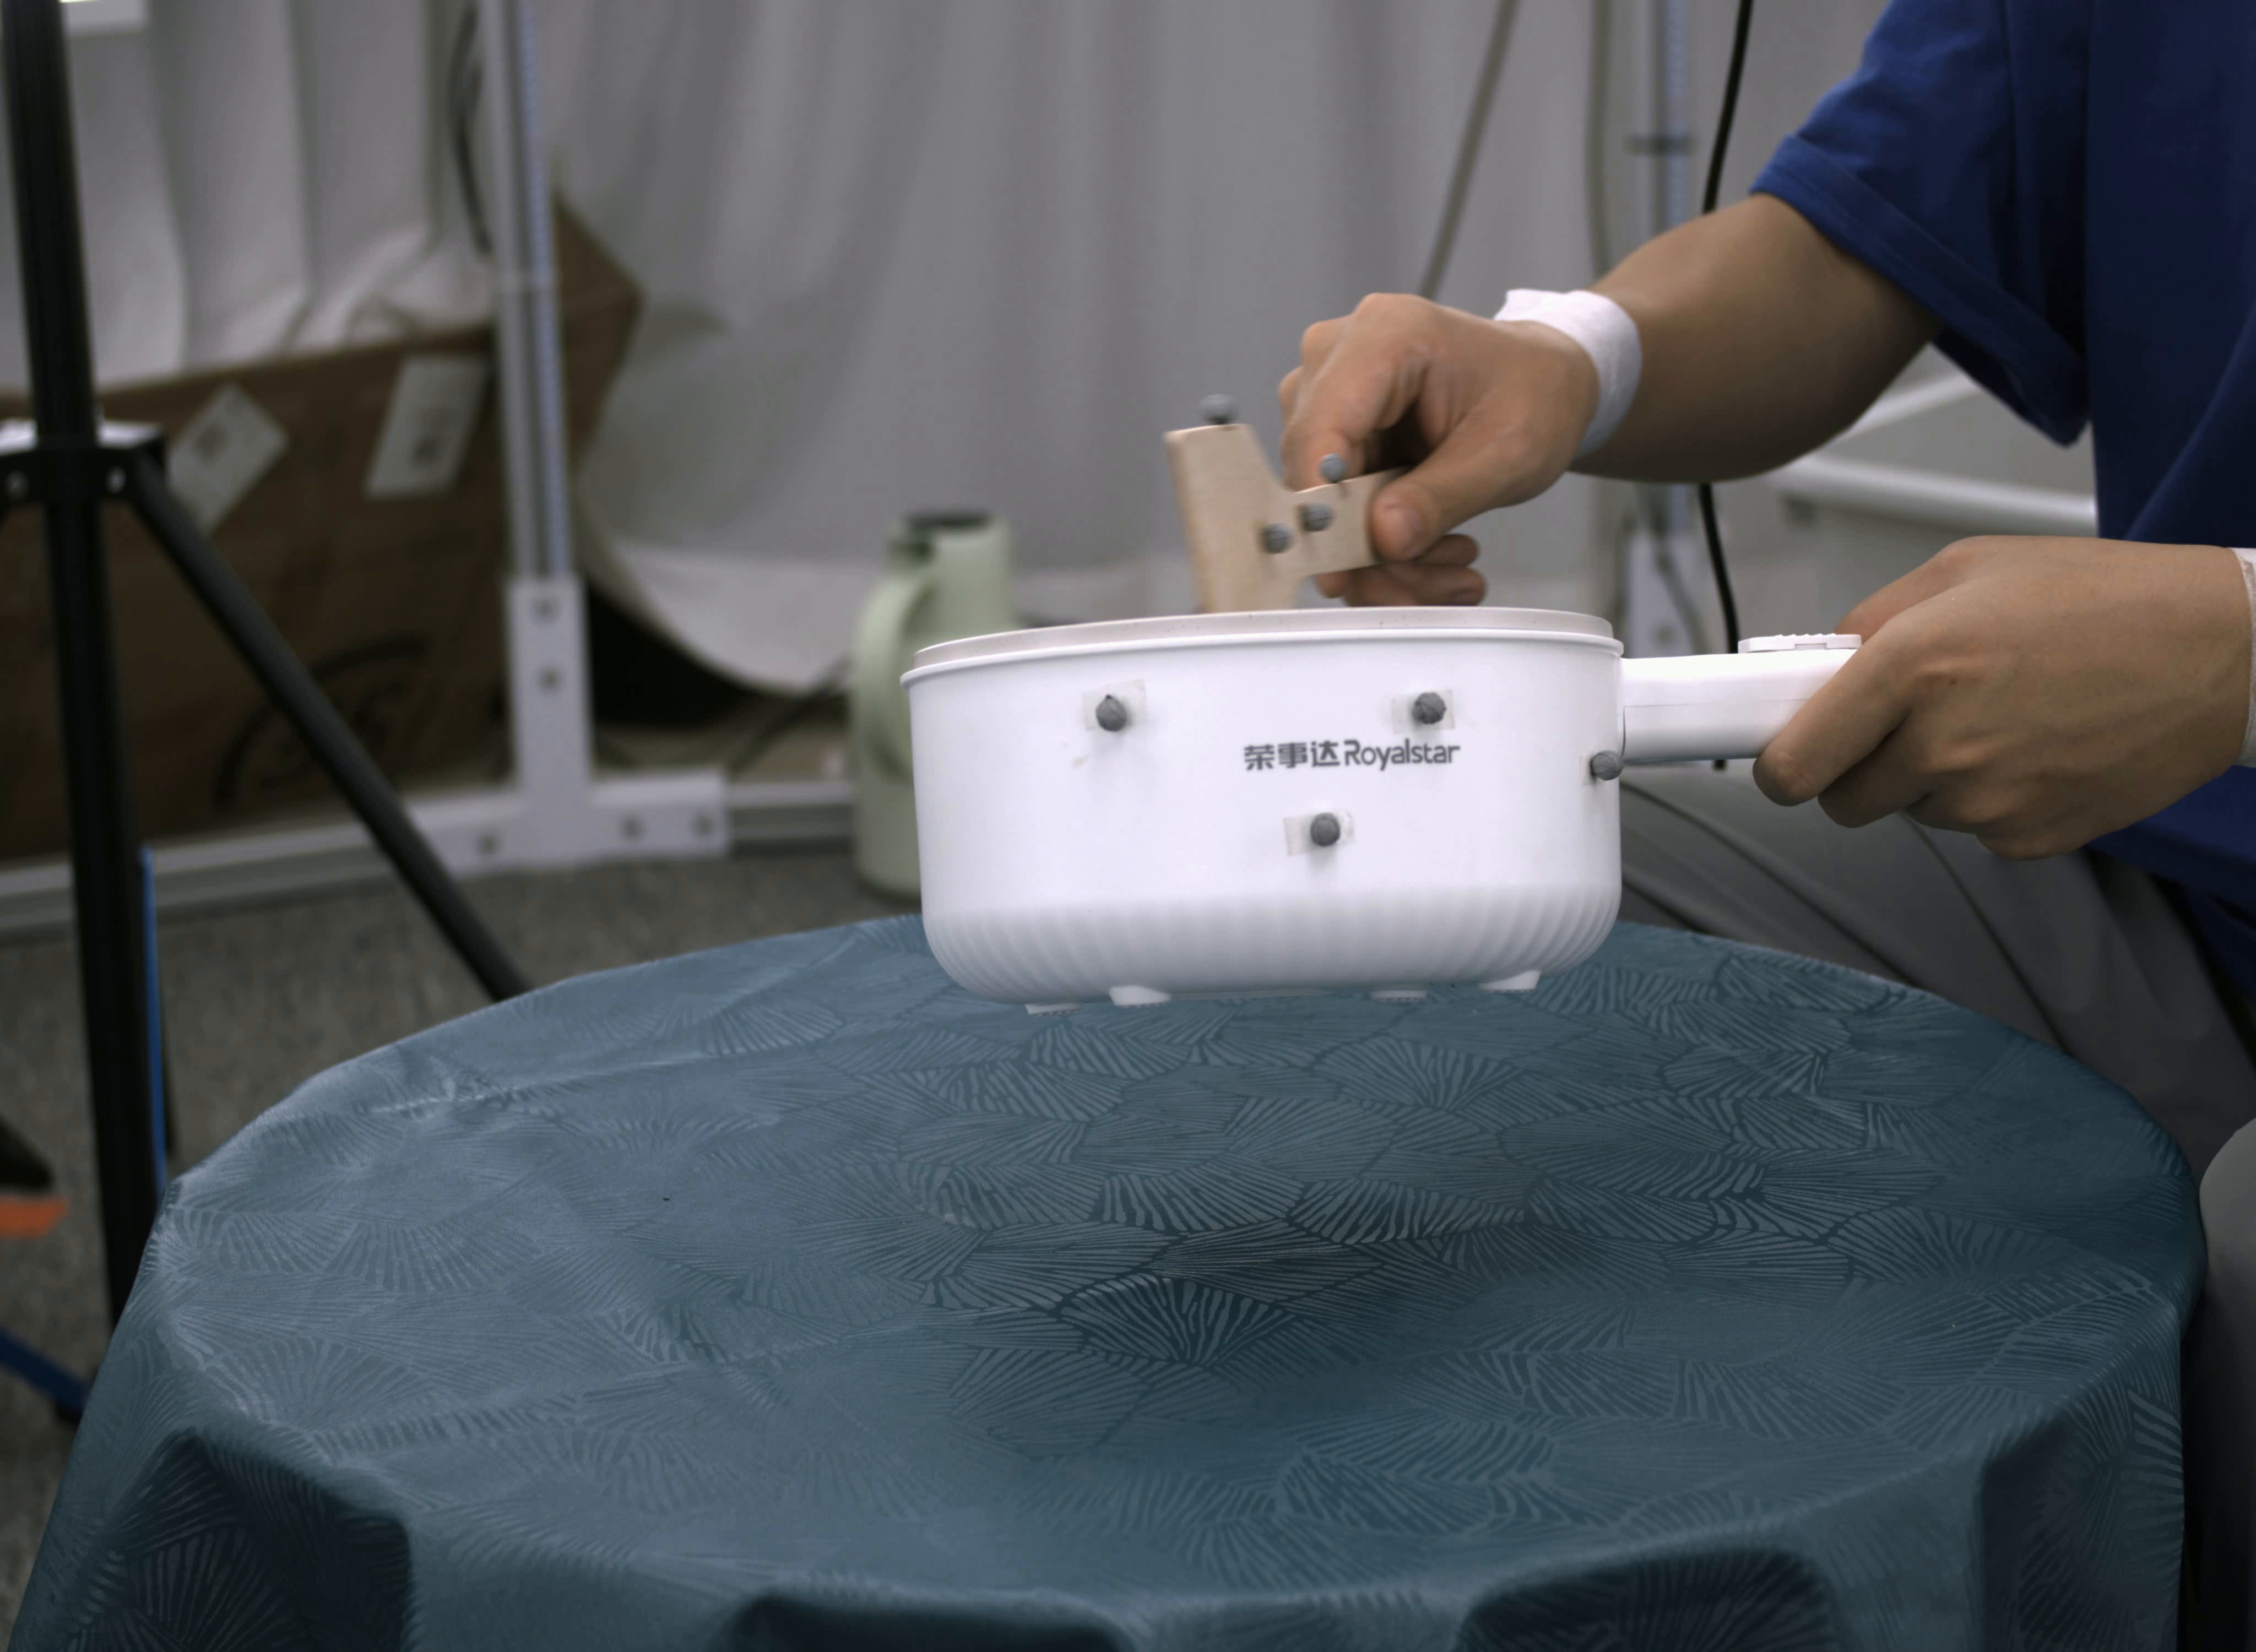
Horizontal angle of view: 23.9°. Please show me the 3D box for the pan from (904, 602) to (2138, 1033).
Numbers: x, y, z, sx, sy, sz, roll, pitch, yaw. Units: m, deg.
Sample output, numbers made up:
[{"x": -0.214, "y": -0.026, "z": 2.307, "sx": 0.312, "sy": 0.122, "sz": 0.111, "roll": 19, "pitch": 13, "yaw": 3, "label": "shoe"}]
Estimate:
[{"x": 0.114, "y": -0.001, "z": 1.485, "sx": 0.349, "sy": 0.103, "sz": 0.203, "roll": -2, "pitch": -5, "yaw": -13, "label": "pan"}]

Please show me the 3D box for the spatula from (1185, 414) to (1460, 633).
[{"x": 0.060, "y": -0.087, "z": 1.543, "sx": 0.011, "sy": 0.072, "sz": 0.289, "roll": -12, "pitch": 2, "yaw": 17, "label": "spatula"}]
